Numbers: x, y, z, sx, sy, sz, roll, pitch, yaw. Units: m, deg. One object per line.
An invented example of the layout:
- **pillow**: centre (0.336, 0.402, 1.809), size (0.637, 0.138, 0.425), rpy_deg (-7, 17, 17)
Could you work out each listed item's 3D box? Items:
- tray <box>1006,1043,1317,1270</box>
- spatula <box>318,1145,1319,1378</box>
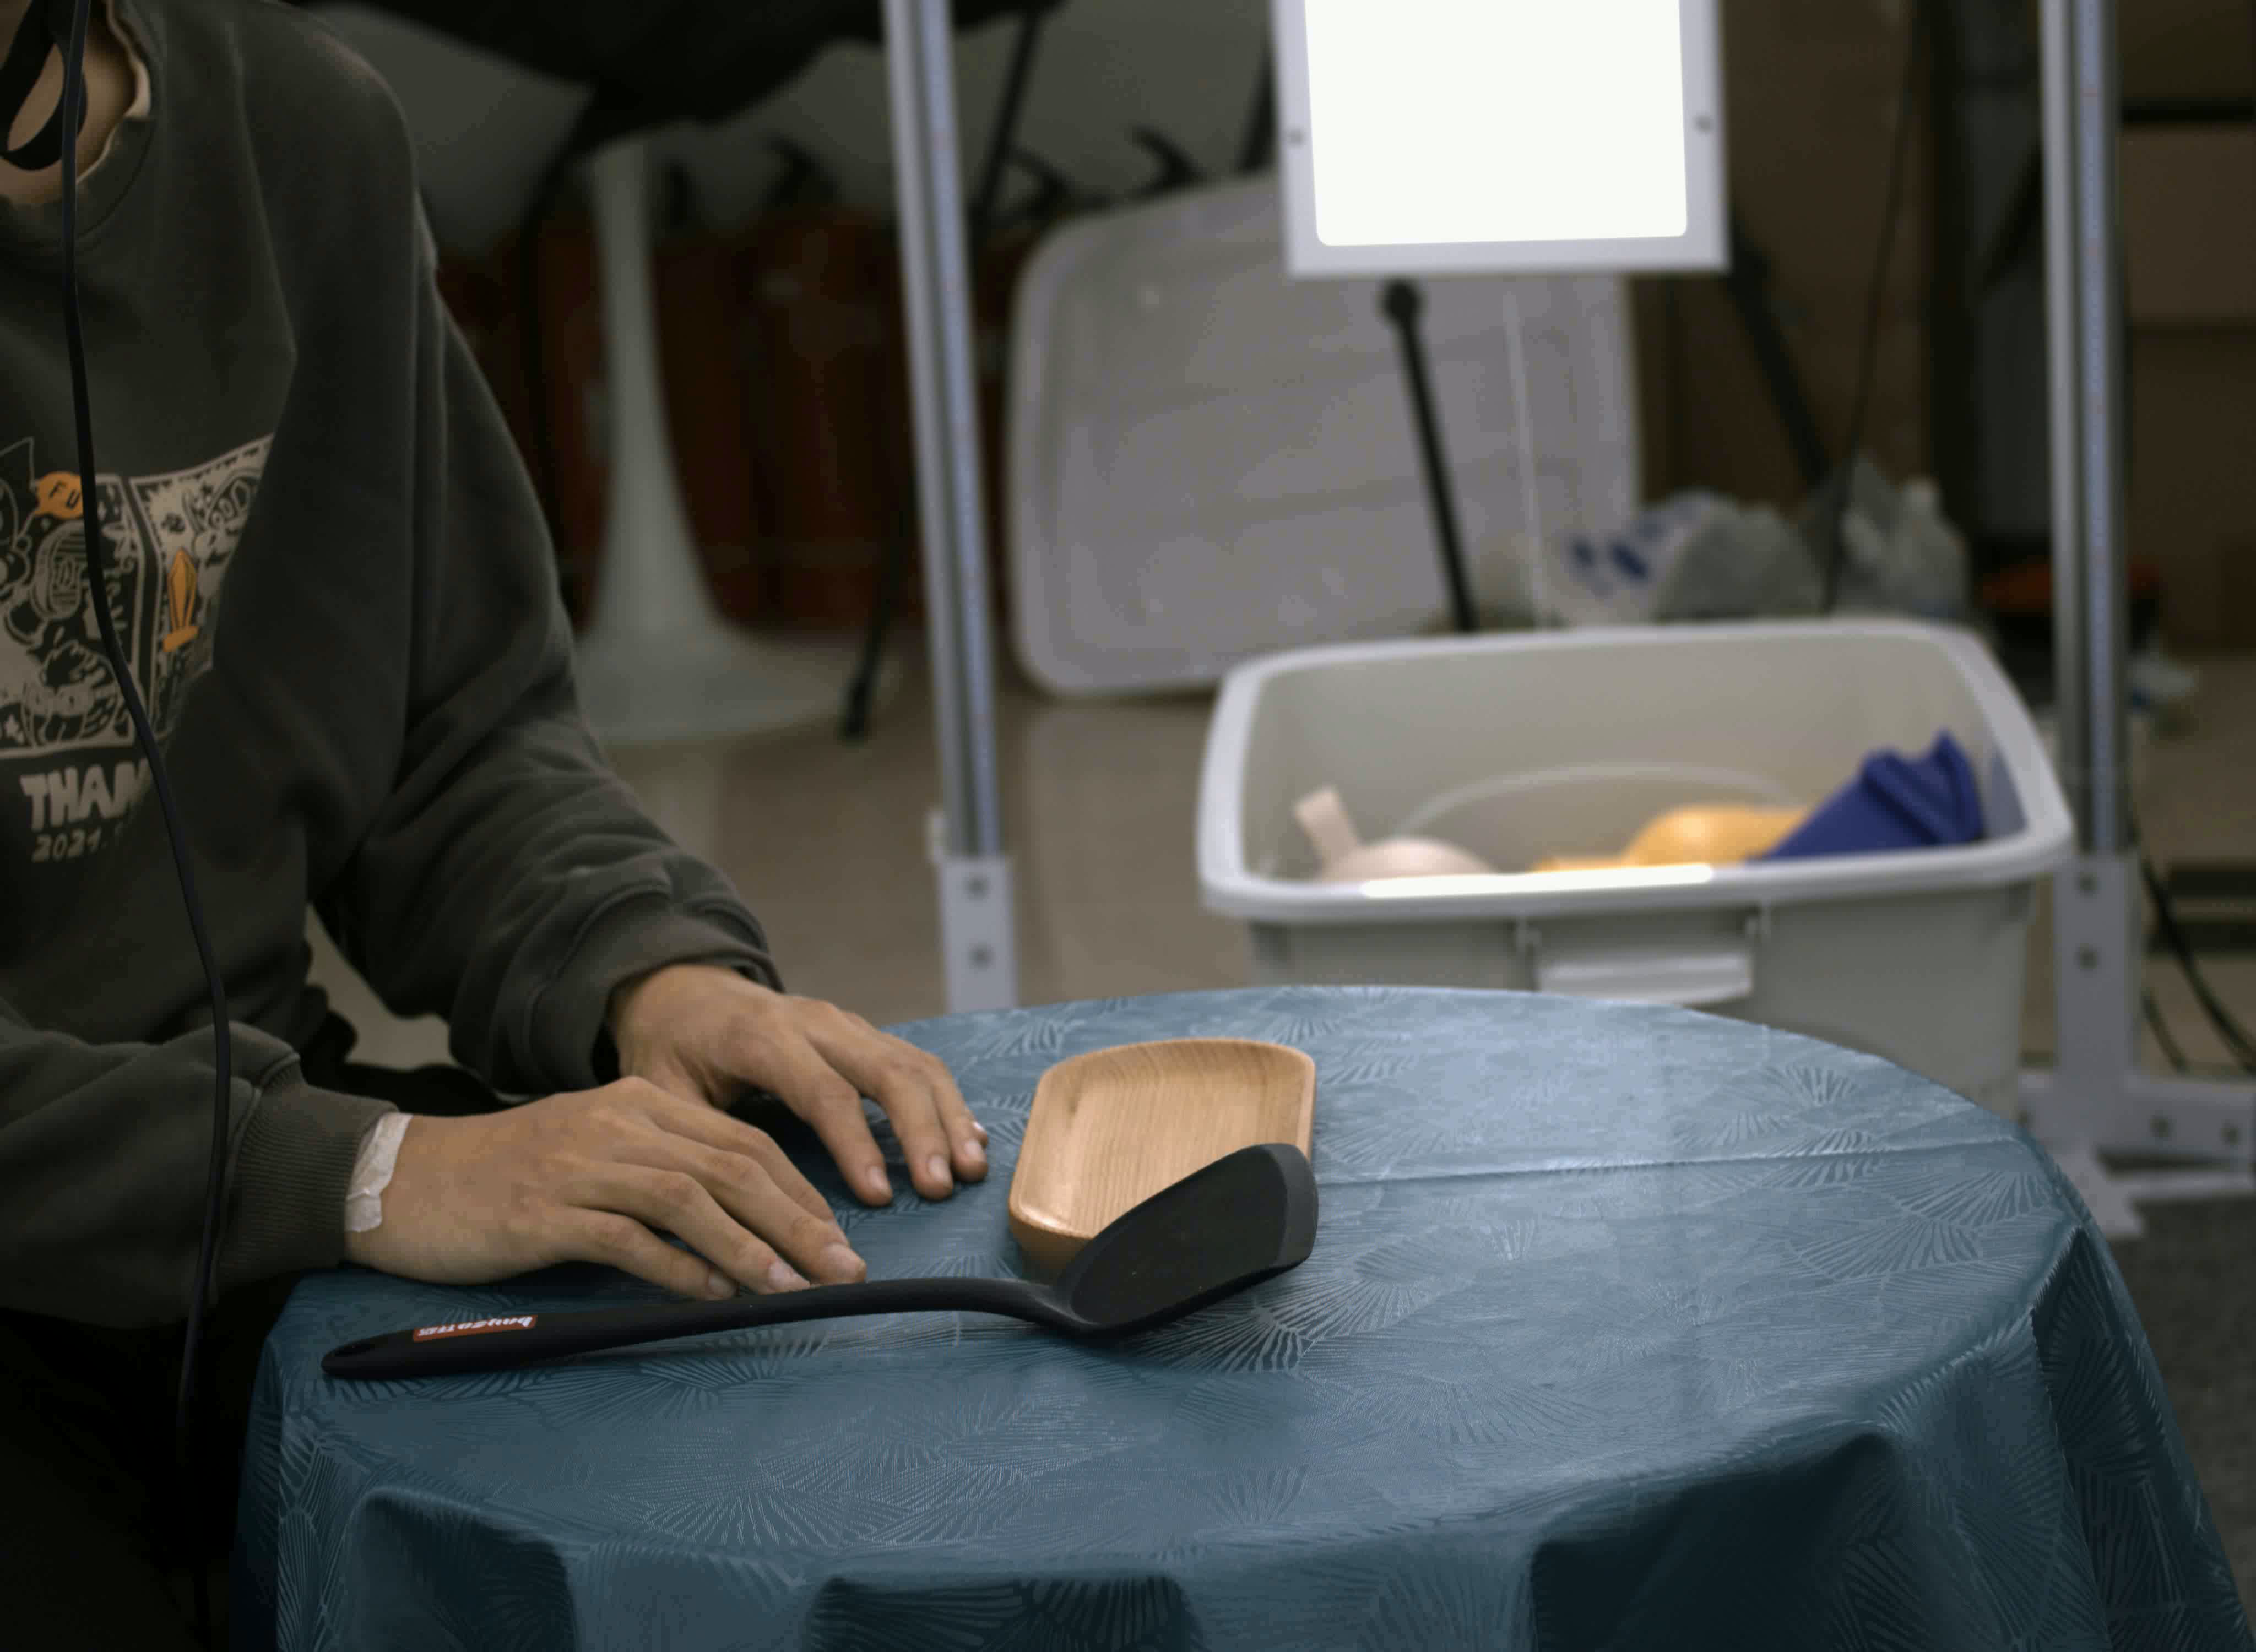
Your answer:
- **tray**: centre (0.014, 0.114, 1.910), size (0.102, 0.020, 0.230), rpy_deg (-4, 15, 5)
- **spatula**: centre (-0.100, 0.148, 1.769), size (0.326, 0.040, 0.099), rpy_deg (-4, 19, 3)
